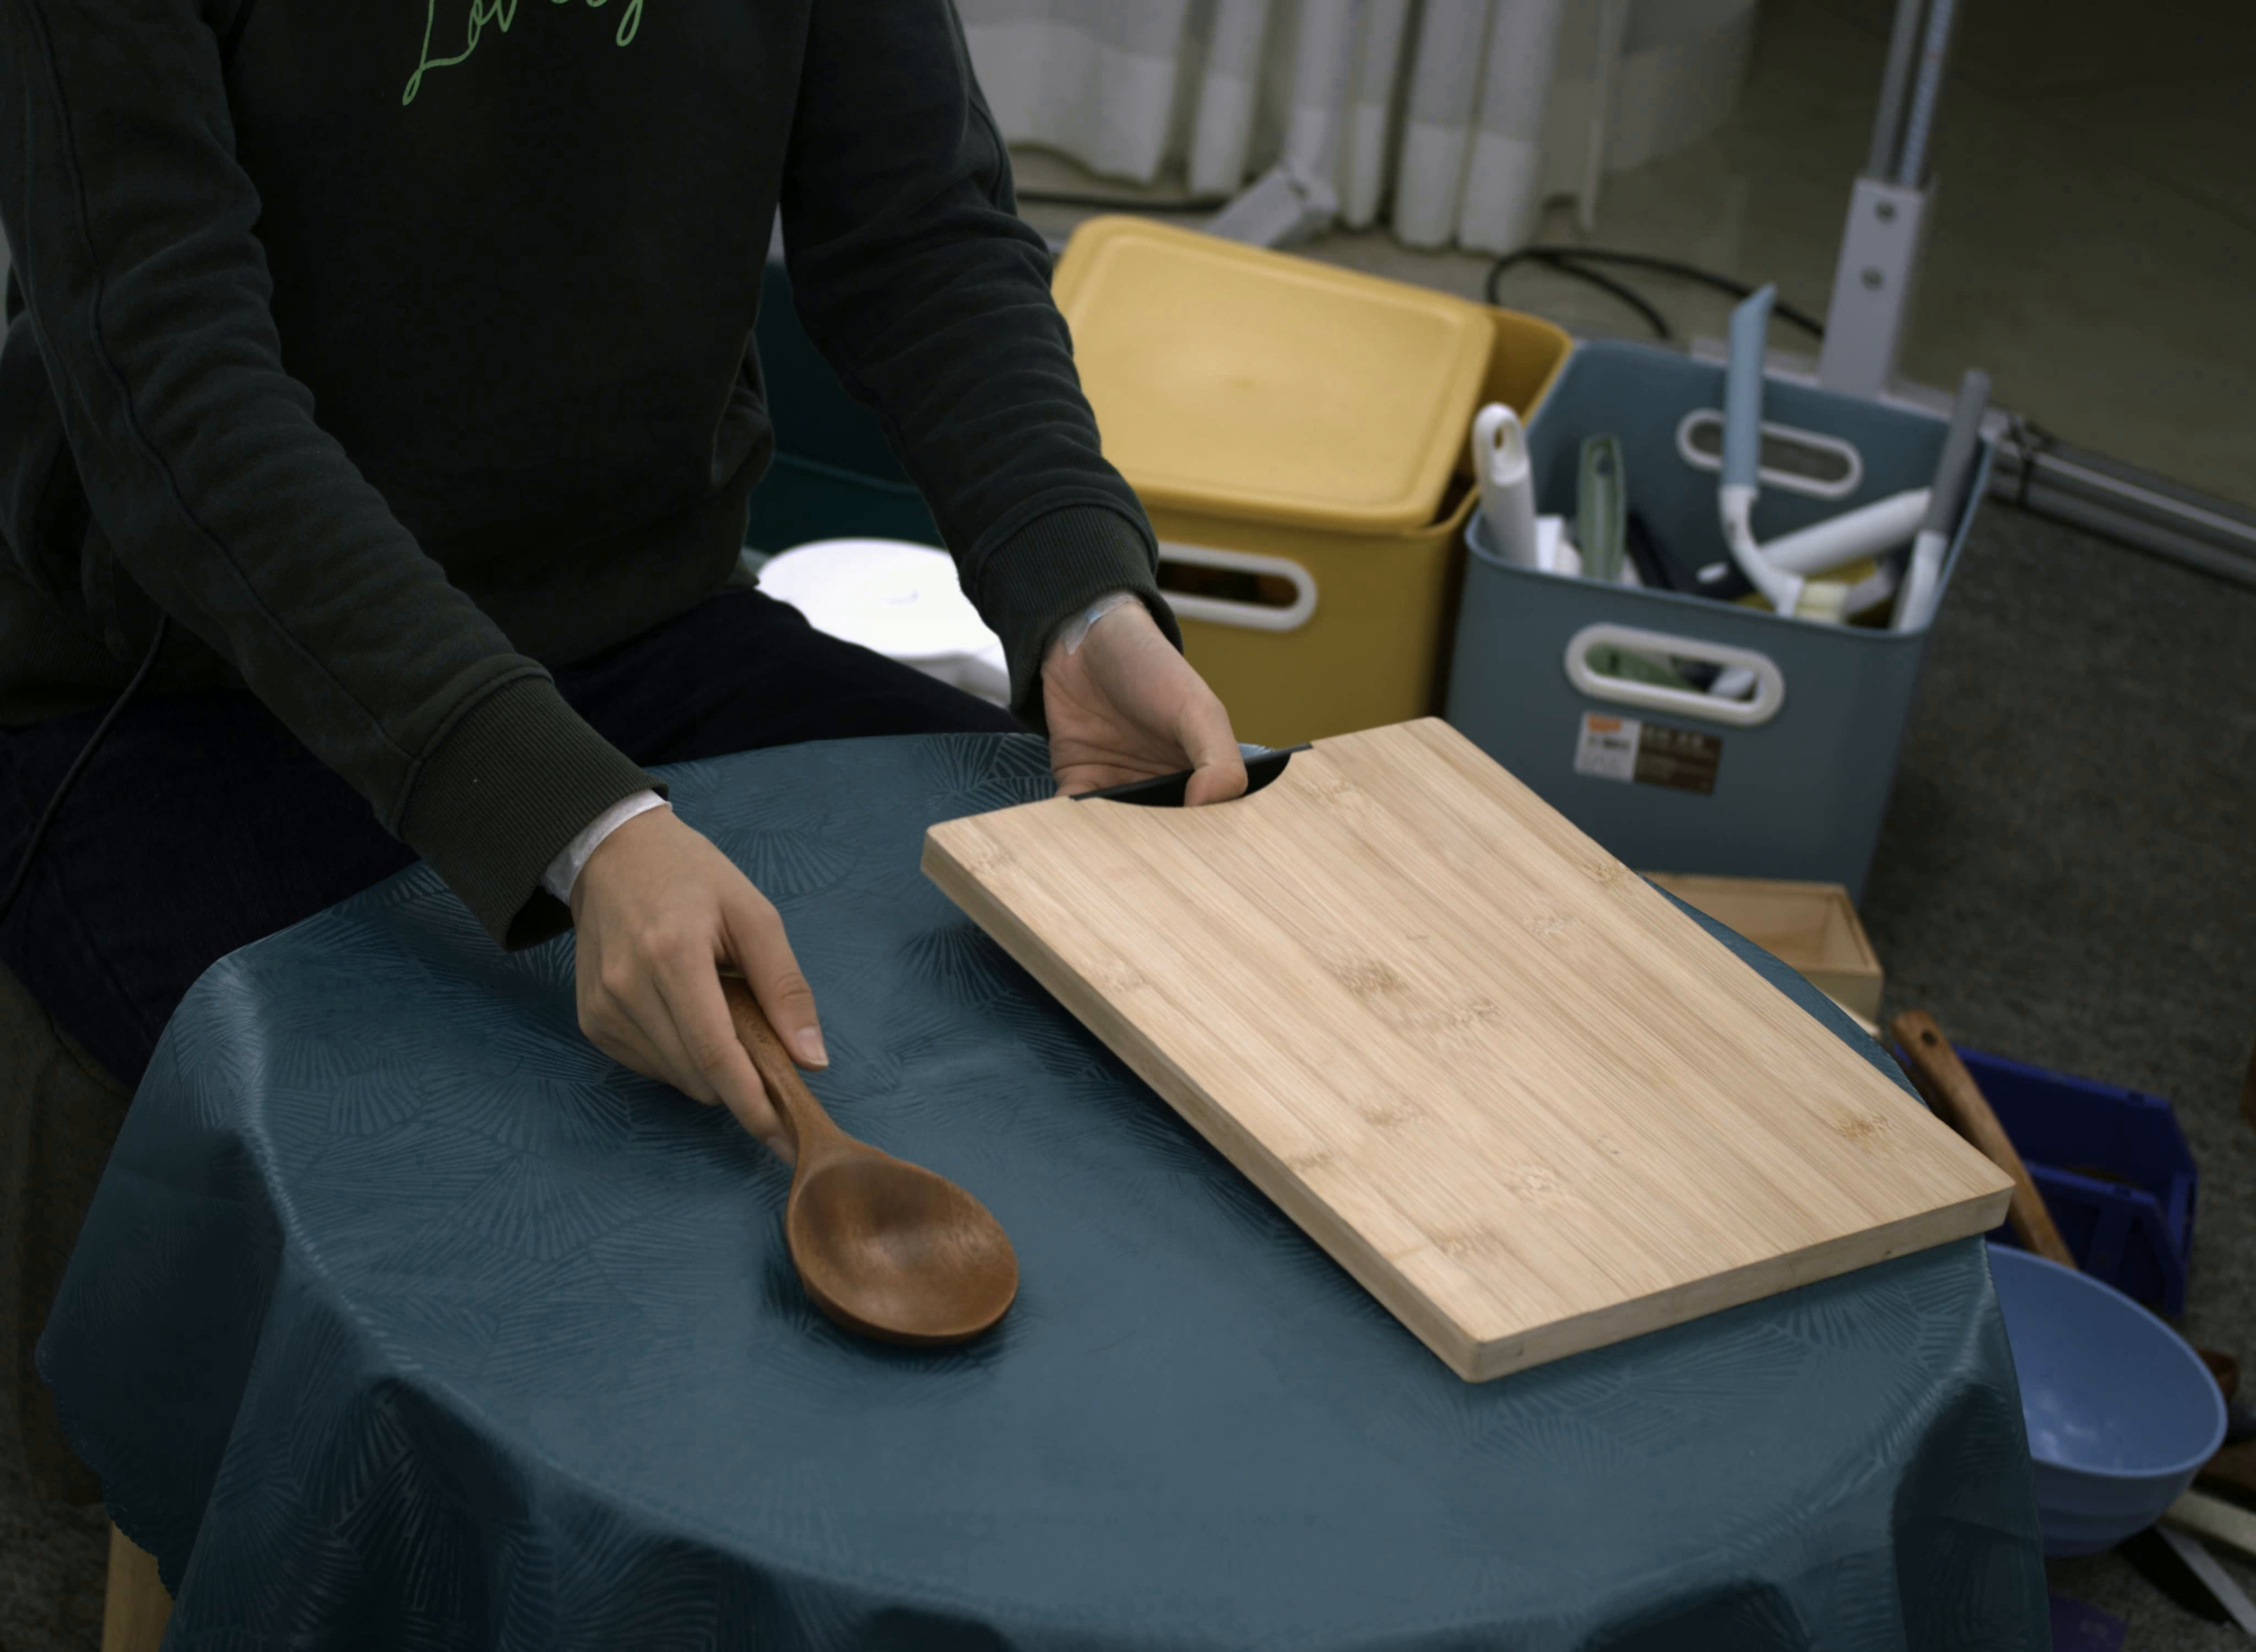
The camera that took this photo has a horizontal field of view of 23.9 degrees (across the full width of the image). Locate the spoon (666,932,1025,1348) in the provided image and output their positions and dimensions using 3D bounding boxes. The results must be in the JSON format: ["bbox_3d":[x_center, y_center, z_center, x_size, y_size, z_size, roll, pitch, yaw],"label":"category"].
[{"bbox_3d":[-0.102,0.104,1.768,0.075,0.017,0.218,-12,42,-26],"label":"spoon"}]

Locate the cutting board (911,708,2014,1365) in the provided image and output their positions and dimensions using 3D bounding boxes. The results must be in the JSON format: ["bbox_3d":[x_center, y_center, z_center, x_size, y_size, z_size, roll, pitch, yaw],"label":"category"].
[{"bbox_3d":[0.113,0.066,1.893,0.249,0.023,0.352,-12,36,-34],"label":"cutting board"}]
